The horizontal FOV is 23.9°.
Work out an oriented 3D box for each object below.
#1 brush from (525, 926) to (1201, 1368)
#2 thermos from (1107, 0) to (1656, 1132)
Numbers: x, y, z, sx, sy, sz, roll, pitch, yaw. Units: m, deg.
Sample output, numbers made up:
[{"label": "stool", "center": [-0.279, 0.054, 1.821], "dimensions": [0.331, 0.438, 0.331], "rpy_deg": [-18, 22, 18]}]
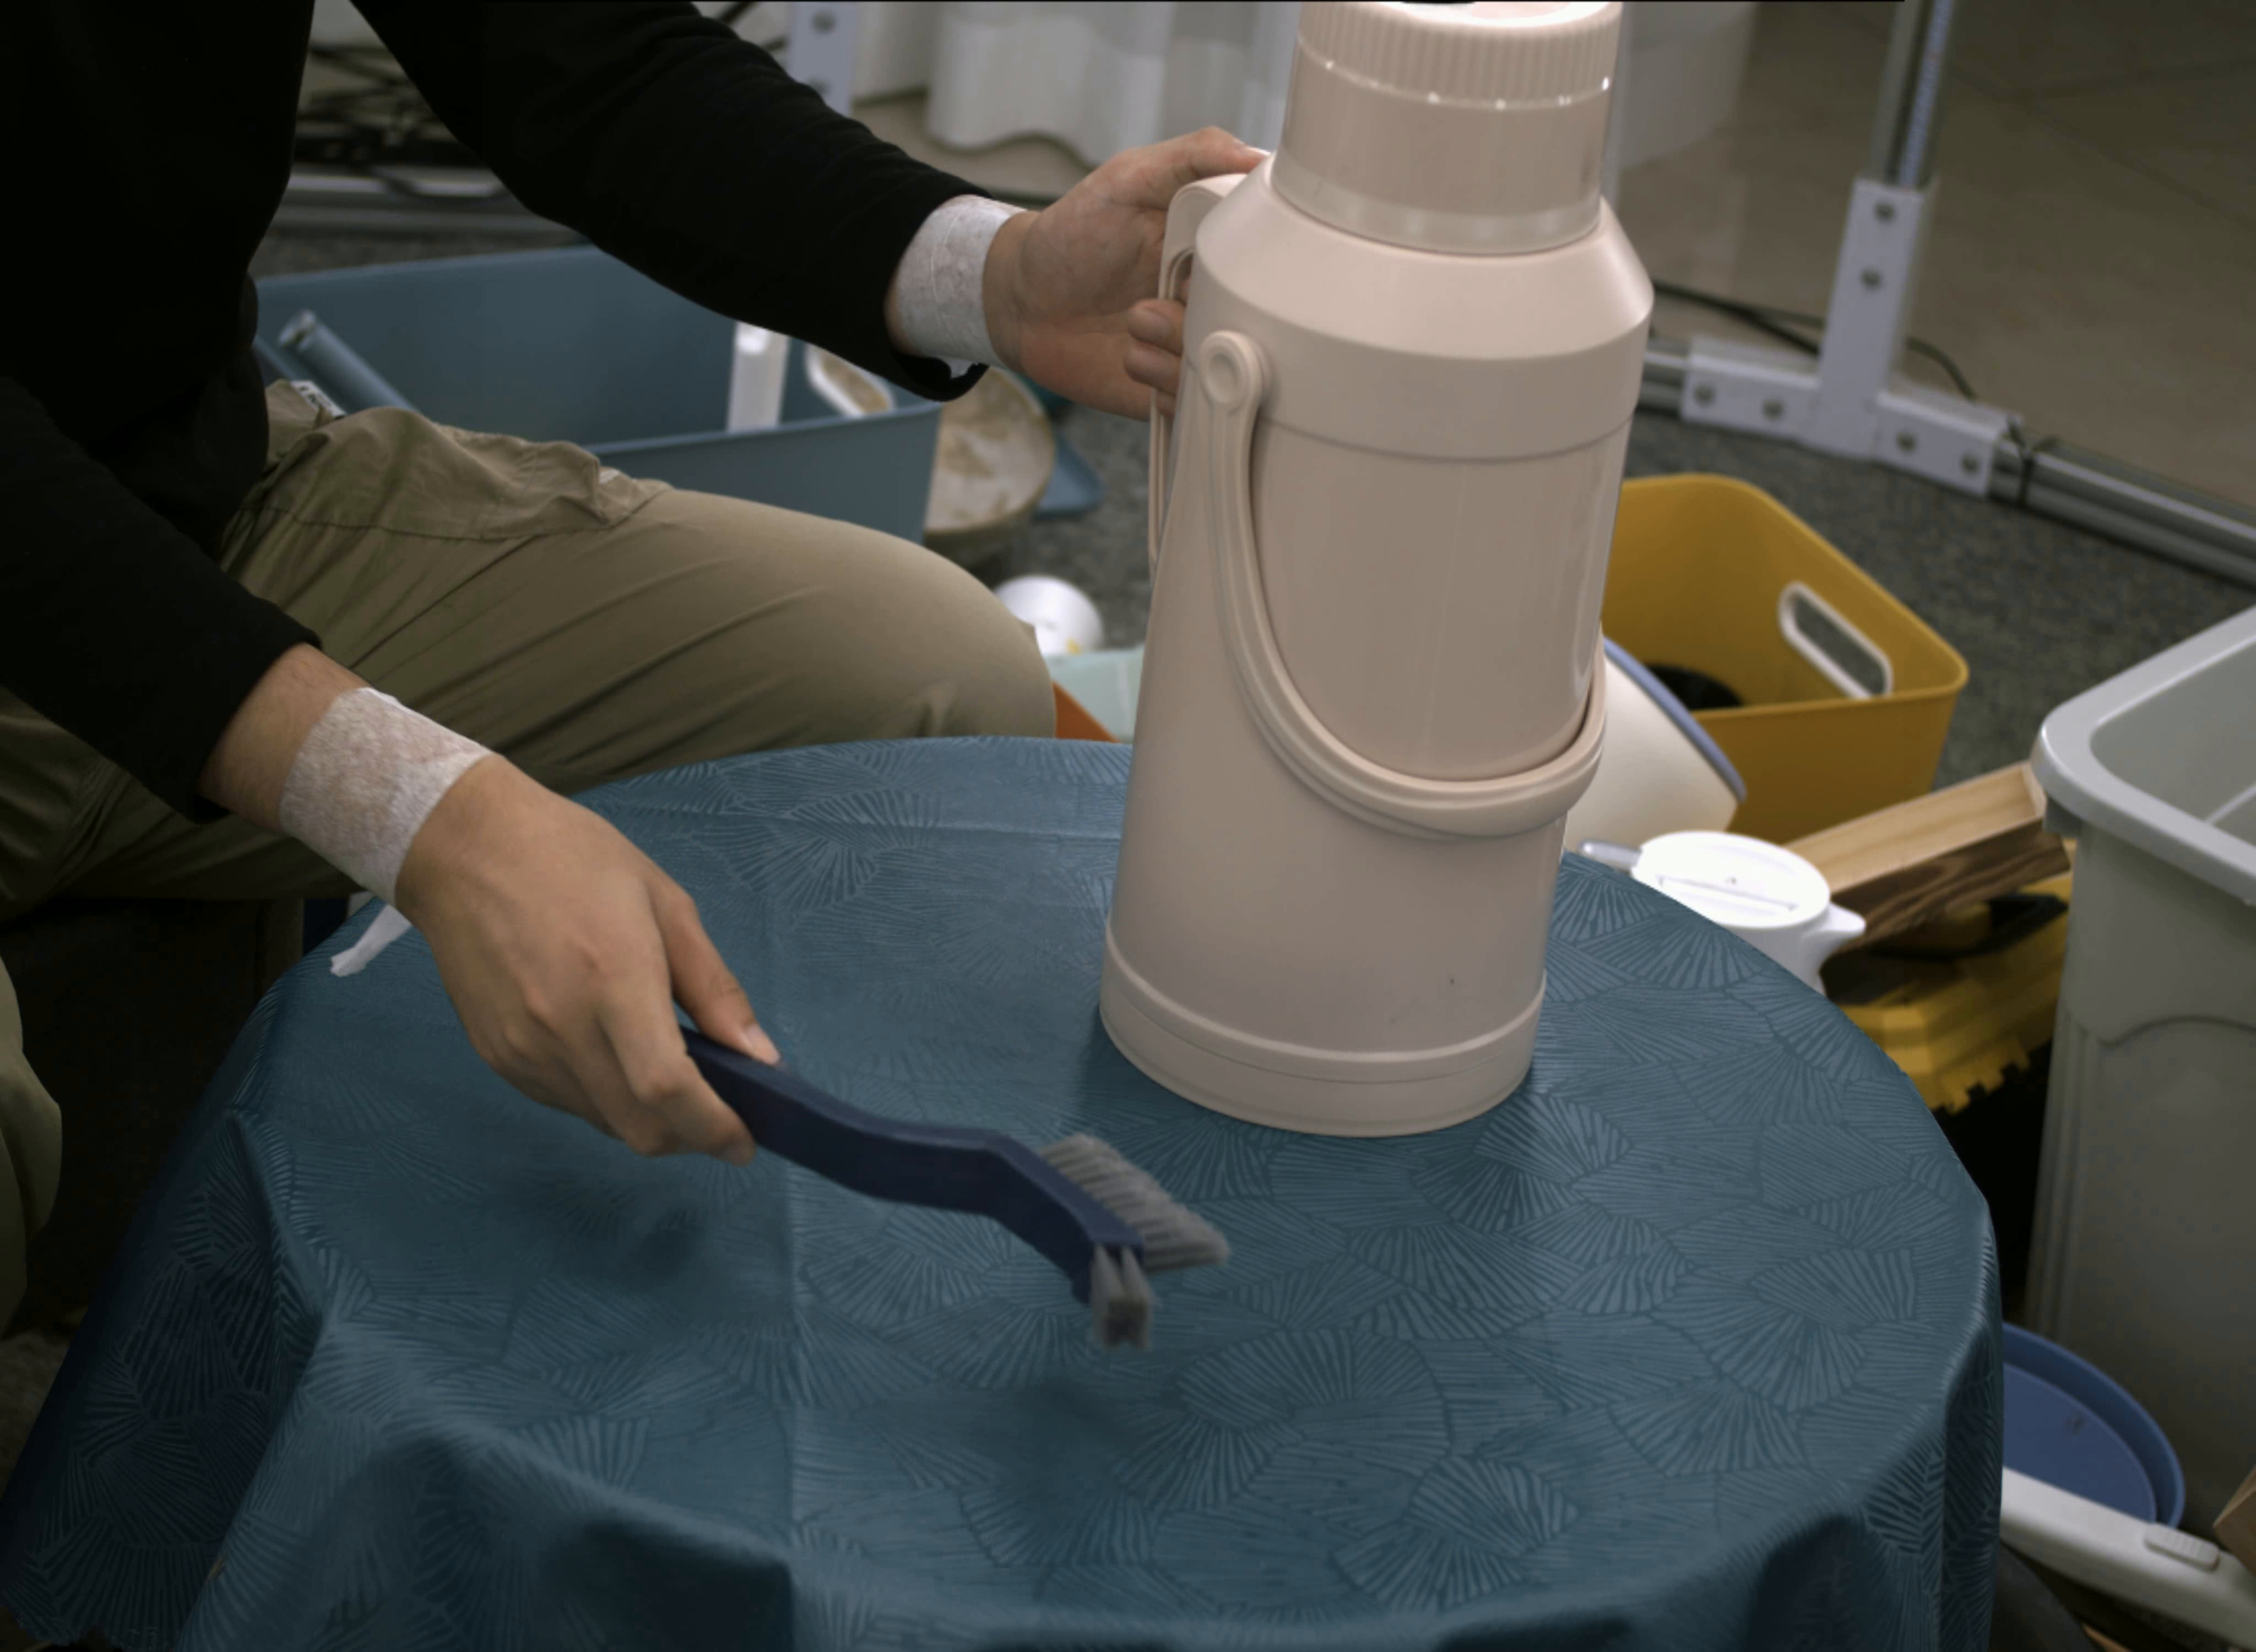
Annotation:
[{"label": "brush", "center": [-0.099, 0.097, 1.688], "dimensions": [0.274, 0.033, 0.095], "rpy_deg": [19, 29, 26]}, {"label": "thermos", "center": [0.082, -0.110, 1.842], "dimensions": [0.174, 0.405, 0.209], "rpy_deg": [-18, 36, -37]}]
